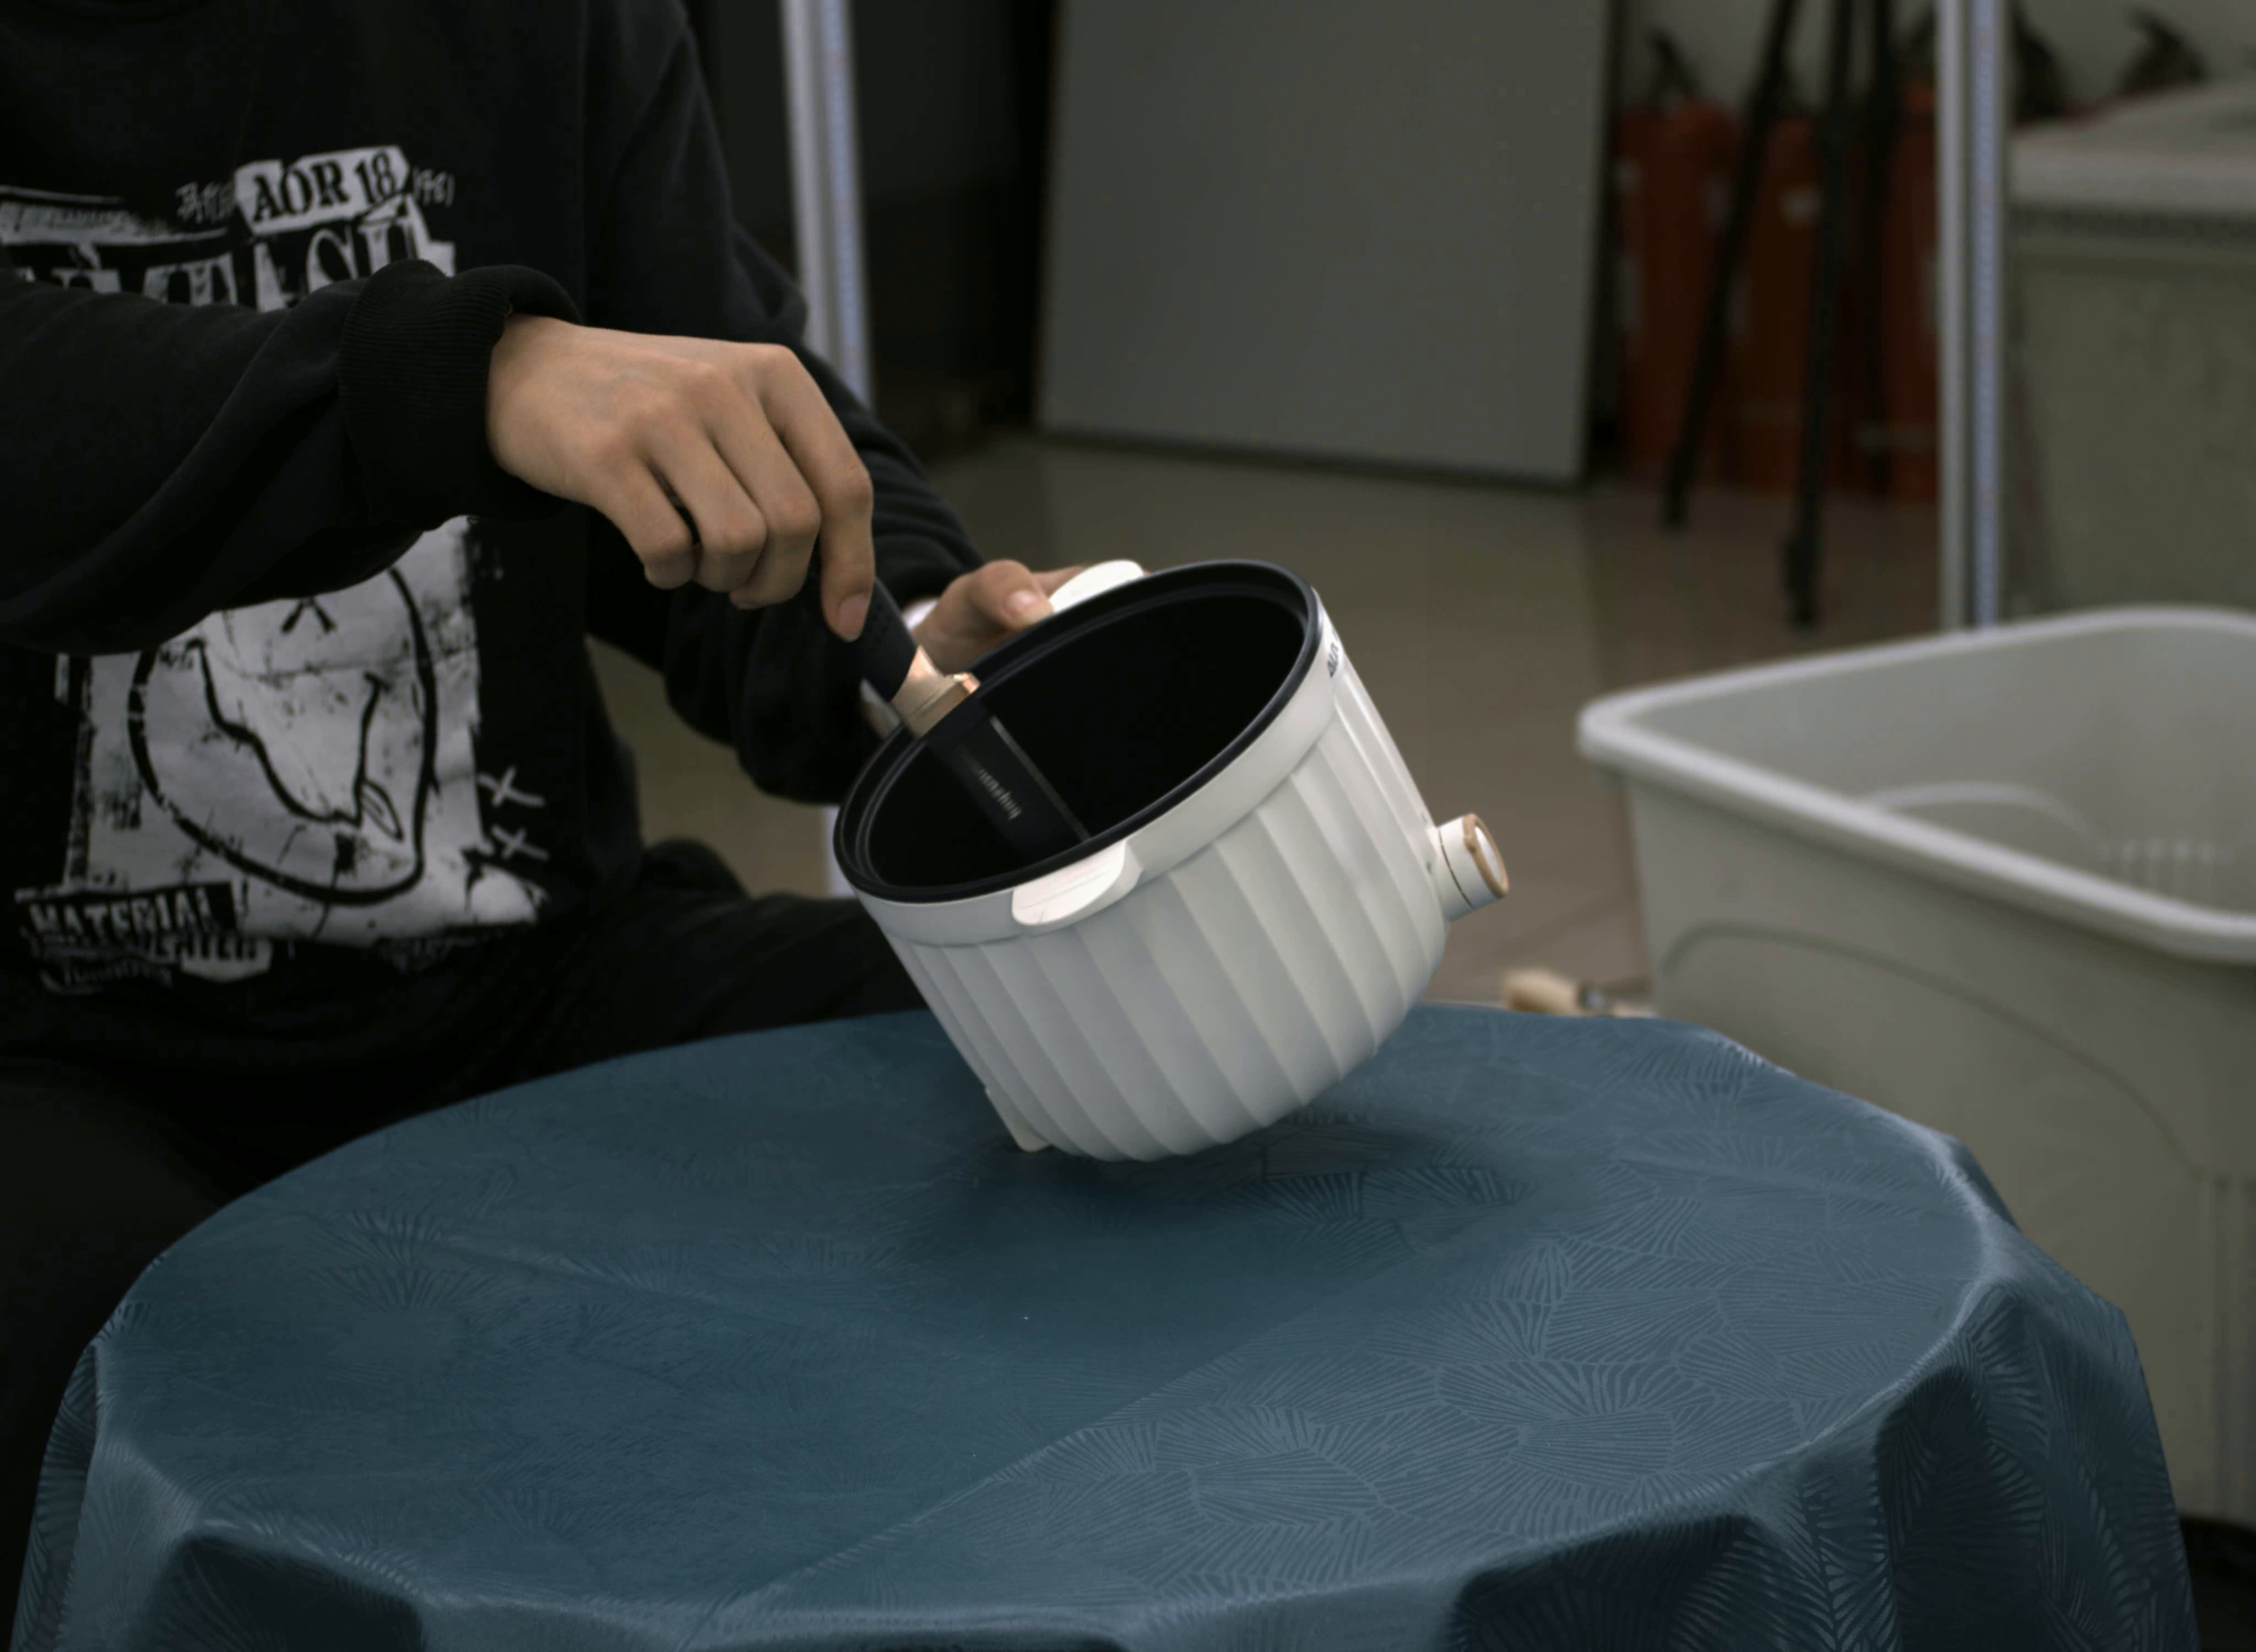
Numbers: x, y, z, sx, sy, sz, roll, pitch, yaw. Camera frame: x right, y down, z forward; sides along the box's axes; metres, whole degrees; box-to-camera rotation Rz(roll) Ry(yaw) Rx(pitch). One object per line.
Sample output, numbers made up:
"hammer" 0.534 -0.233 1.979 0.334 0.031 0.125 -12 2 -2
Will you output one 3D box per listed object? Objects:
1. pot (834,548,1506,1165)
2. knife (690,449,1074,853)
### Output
"pot" 0.017 0.014 1.791 0.190 0.142 0.241 -28 25 16
"knife" -0.060 -0.033 1.712 0.026 0.225 0.017 -46 12 -26
